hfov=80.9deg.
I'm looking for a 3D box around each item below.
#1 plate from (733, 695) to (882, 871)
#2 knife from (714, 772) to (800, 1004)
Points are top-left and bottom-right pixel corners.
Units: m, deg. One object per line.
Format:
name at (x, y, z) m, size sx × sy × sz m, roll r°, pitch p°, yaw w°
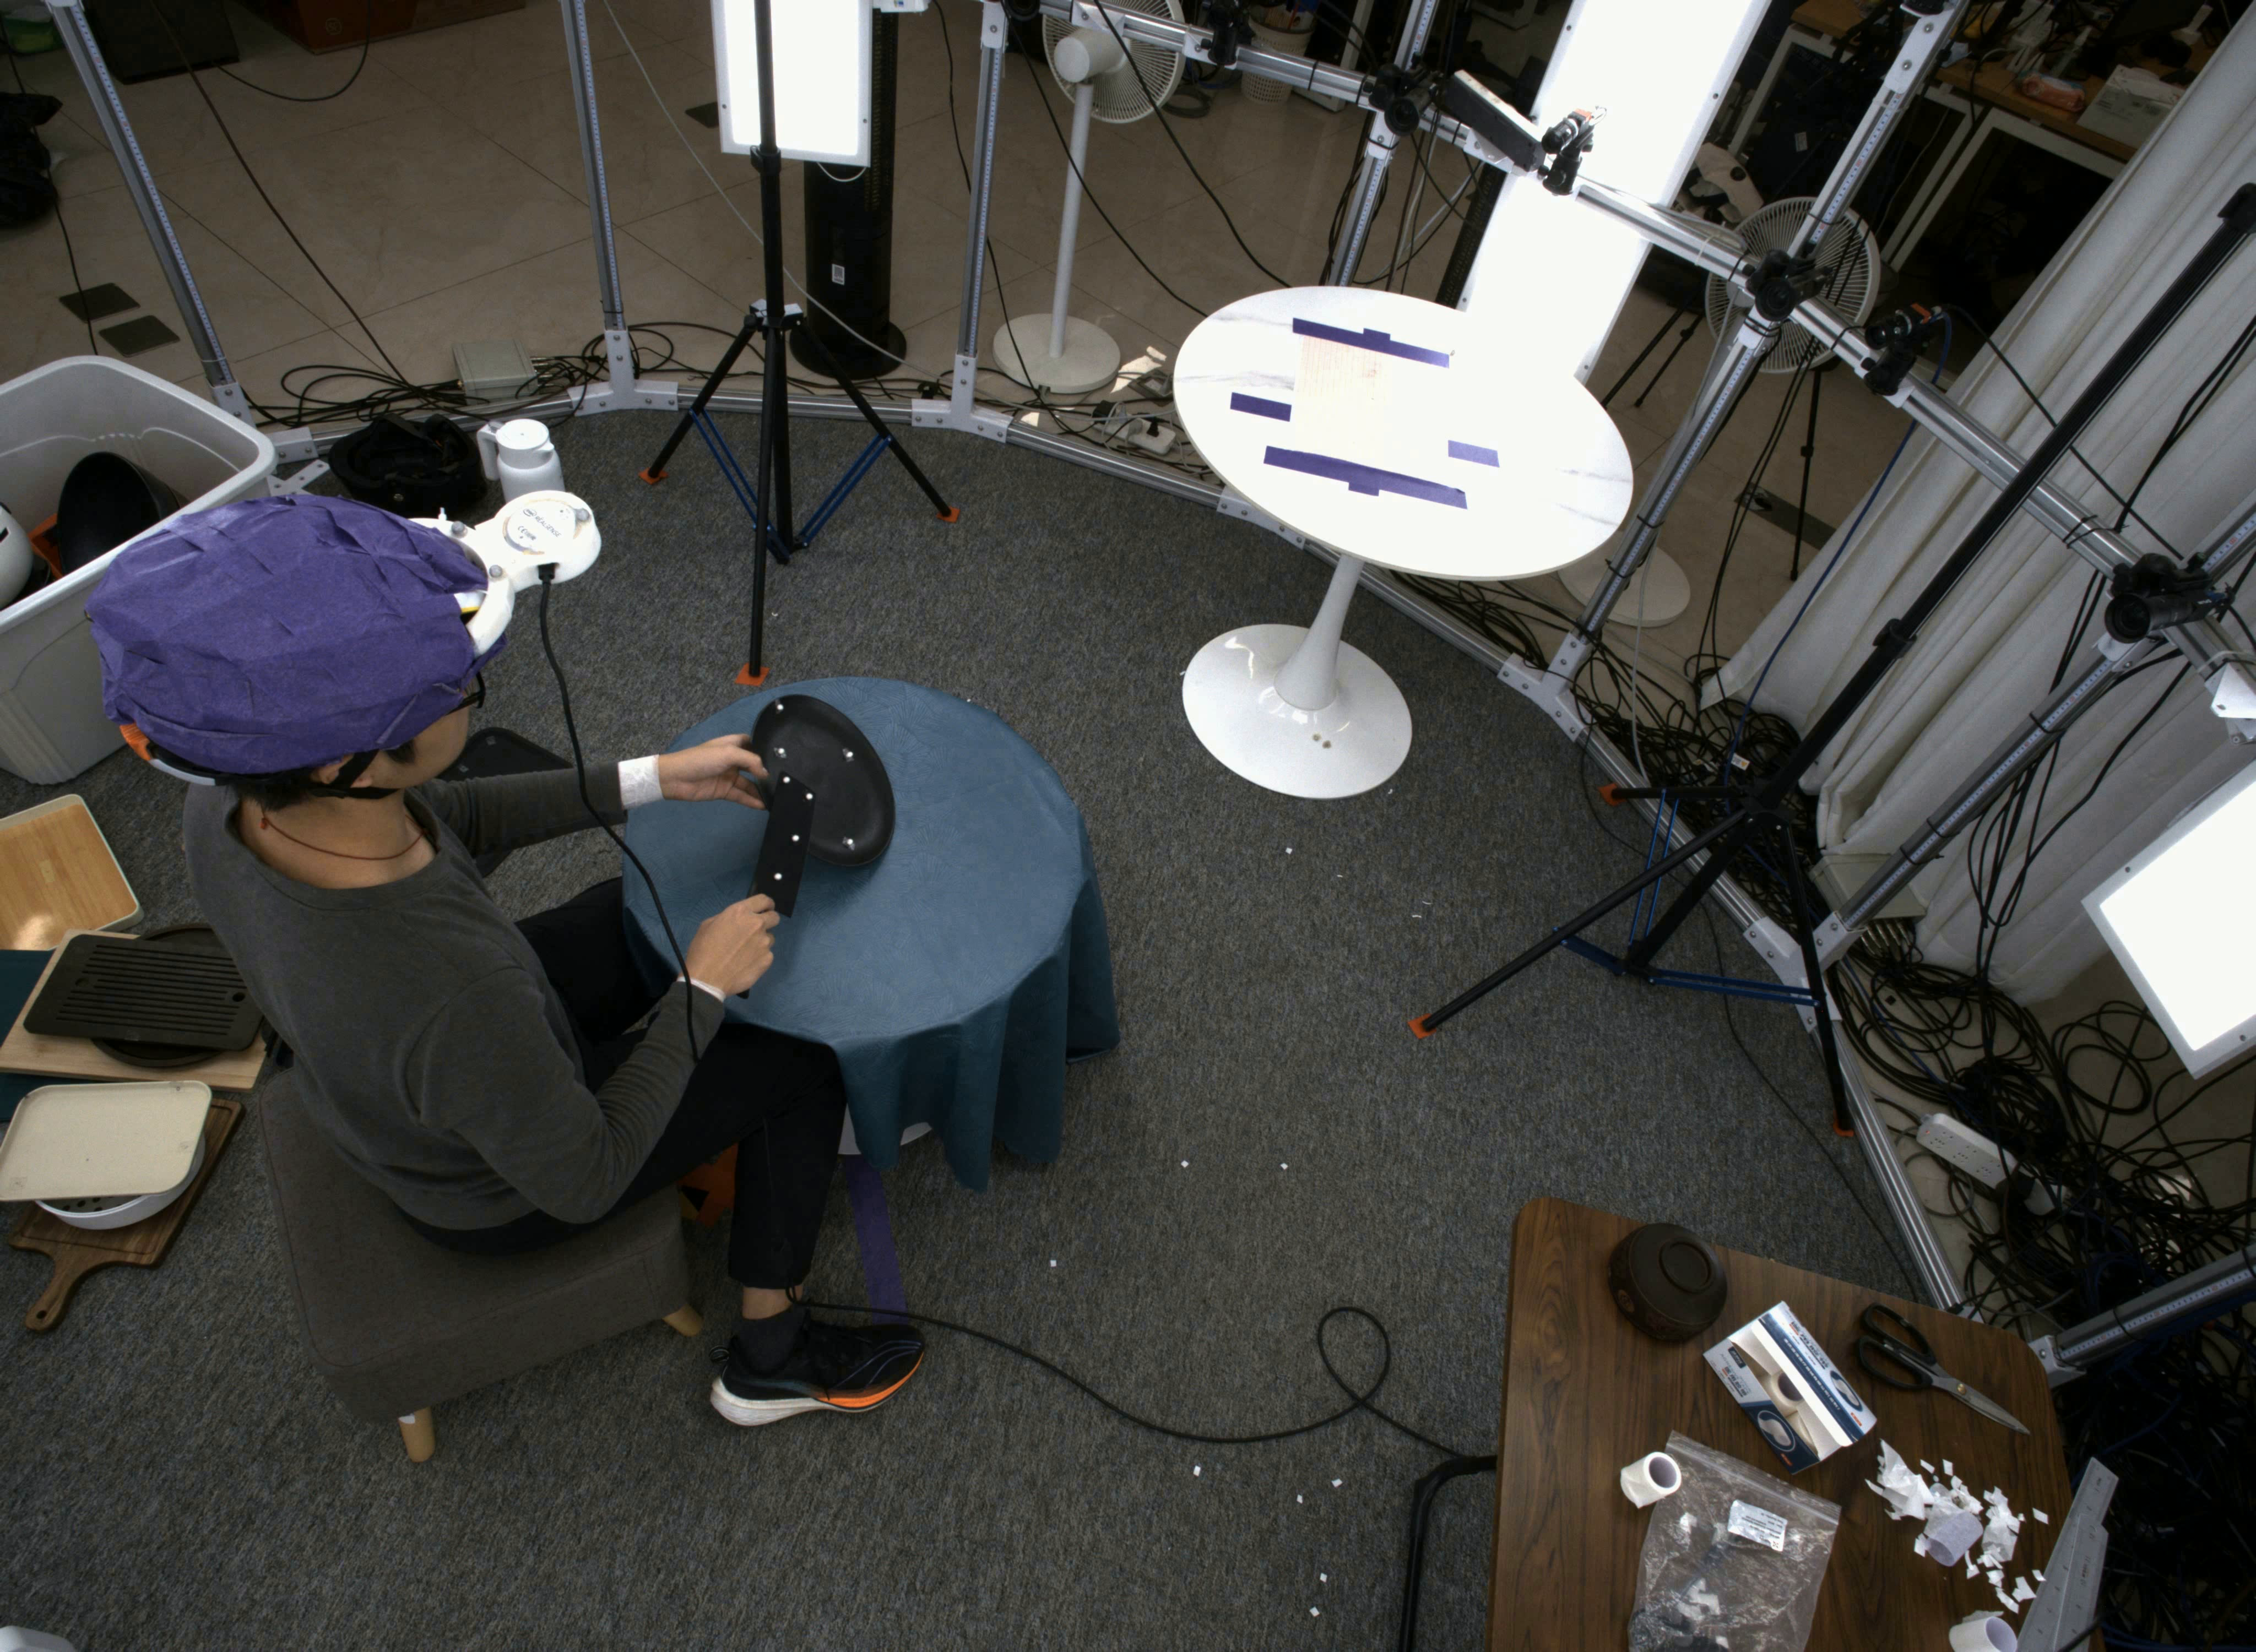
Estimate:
plate at (-0.417, -0.055, 1.680) m, size 0.253 × 0.023 × 0.240 m, roll 42°, pitch 36°, yaw -37°
knife at (-0.439, 0.069, 1.538) m, size 0.084 × 0.020 × 0.298 m, roll 42°, pitch 42°, yaw -40°
